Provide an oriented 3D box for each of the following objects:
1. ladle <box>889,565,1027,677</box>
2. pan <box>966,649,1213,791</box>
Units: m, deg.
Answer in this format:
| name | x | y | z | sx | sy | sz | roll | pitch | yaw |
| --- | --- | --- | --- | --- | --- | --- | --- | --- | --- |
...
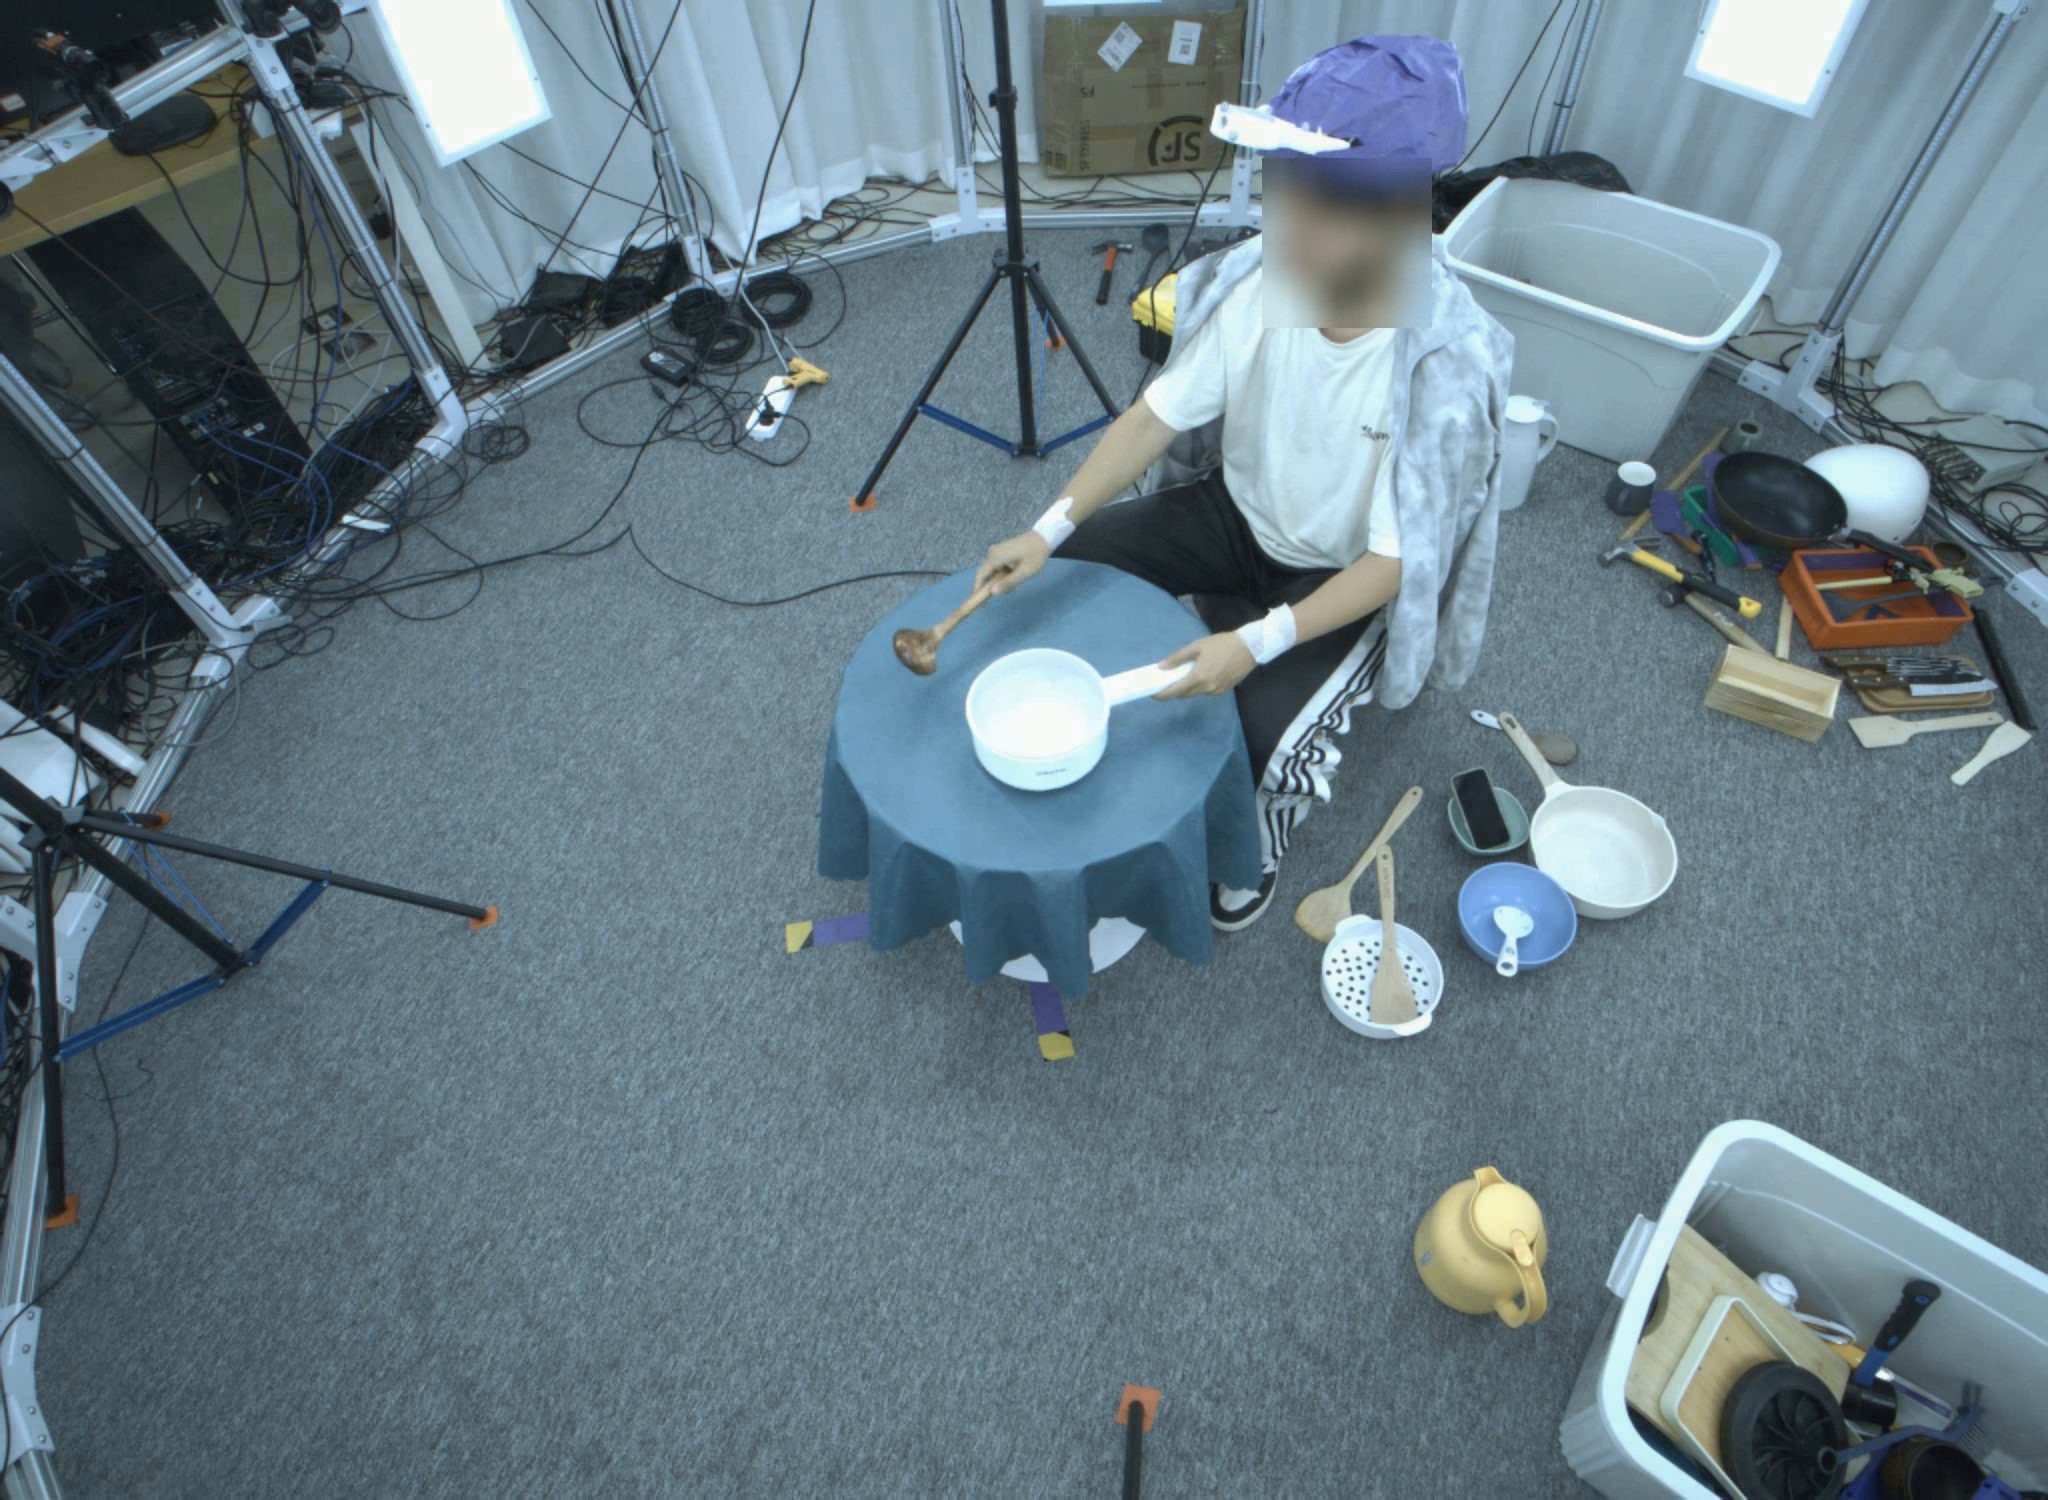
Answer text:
| name | x | y | z | sx | sy | sz | roll | pitch | yaw |
| --- | --- | --- | --- | --- | --- | --- | --- | --- | --- |
| ladle | -0.090 | -0.205 | 1.830 | 0.276 | 0.075 | 0.083 | -39 | 106 | -21 |
| pan | 0.095 | -0.057 | 1.768 | 0.357 | 0.103 | 0.198 | -15 | 54 | -9 |
